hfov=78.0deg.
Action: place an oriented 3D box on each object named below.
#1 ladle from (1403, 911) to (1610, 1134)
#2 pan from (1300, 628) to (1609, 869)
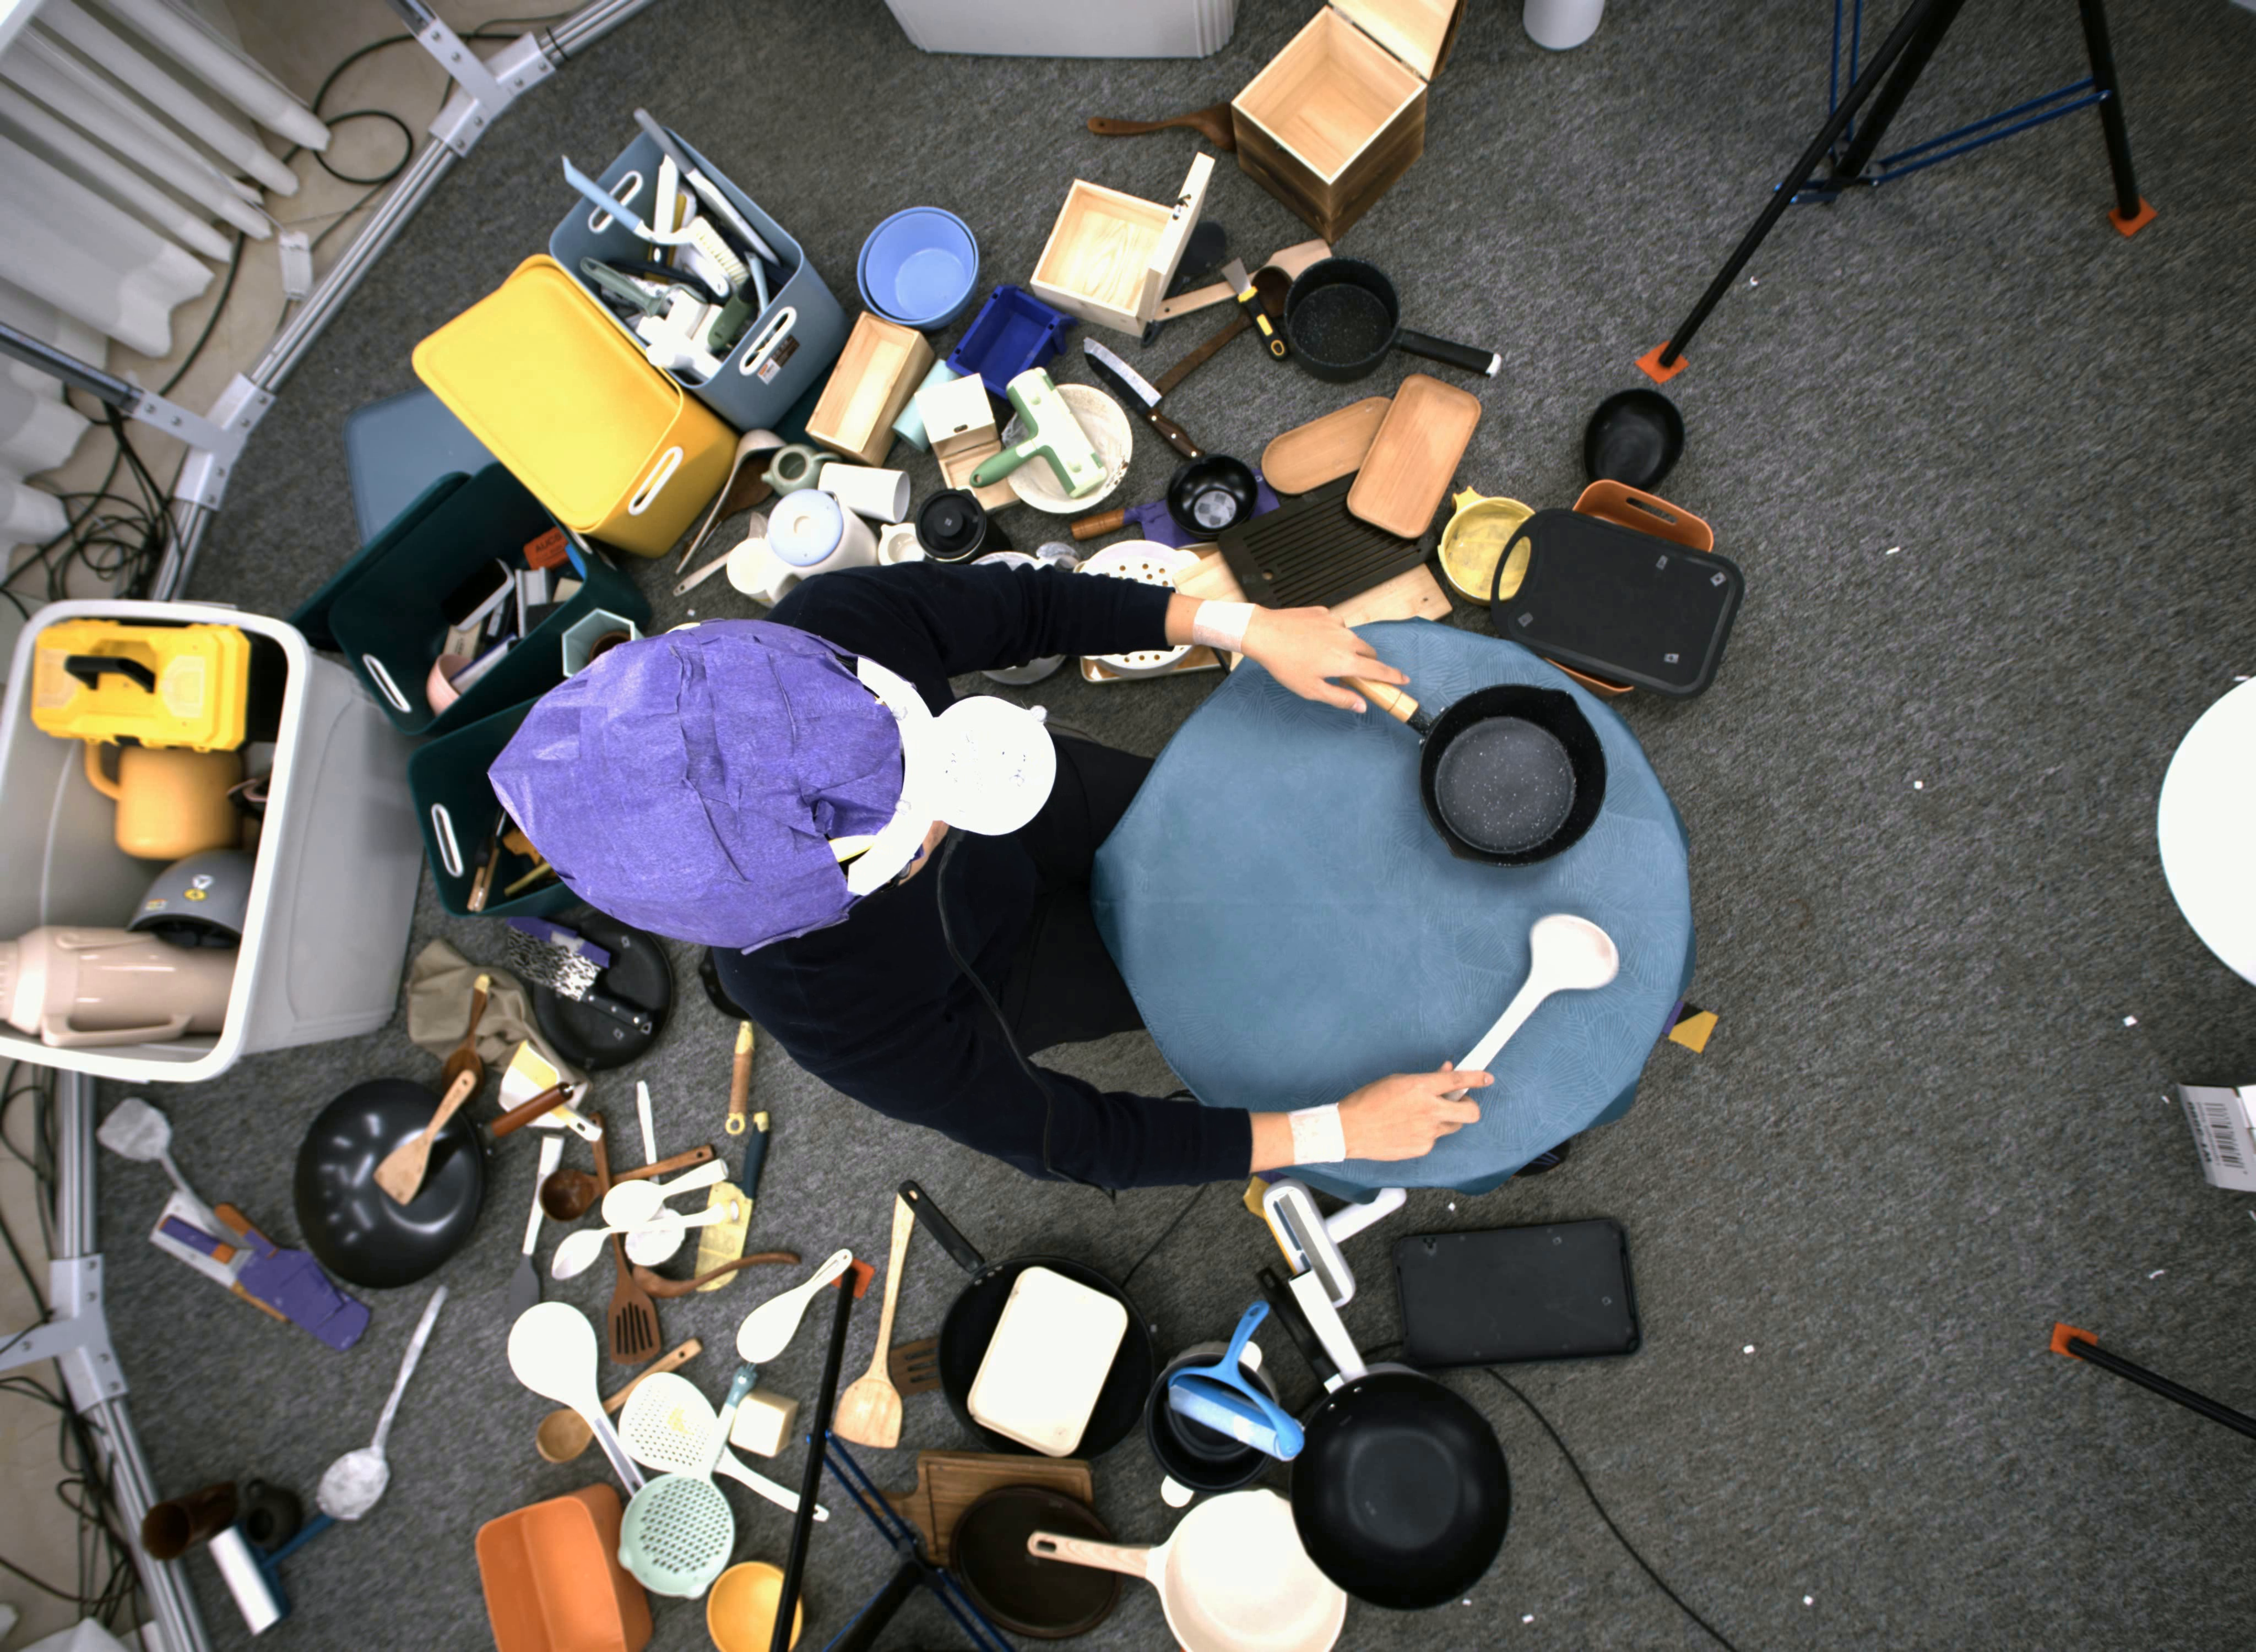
[{"bbox_3d":[0.372,0.200,1.379,0.089,0.070,0.274,41,86,4],"label":"ladle"},{"bbox_3d":[0.322,-0.093,1.404,0.342,0.108,0.208,33,94,9],"label":"pan"}]
